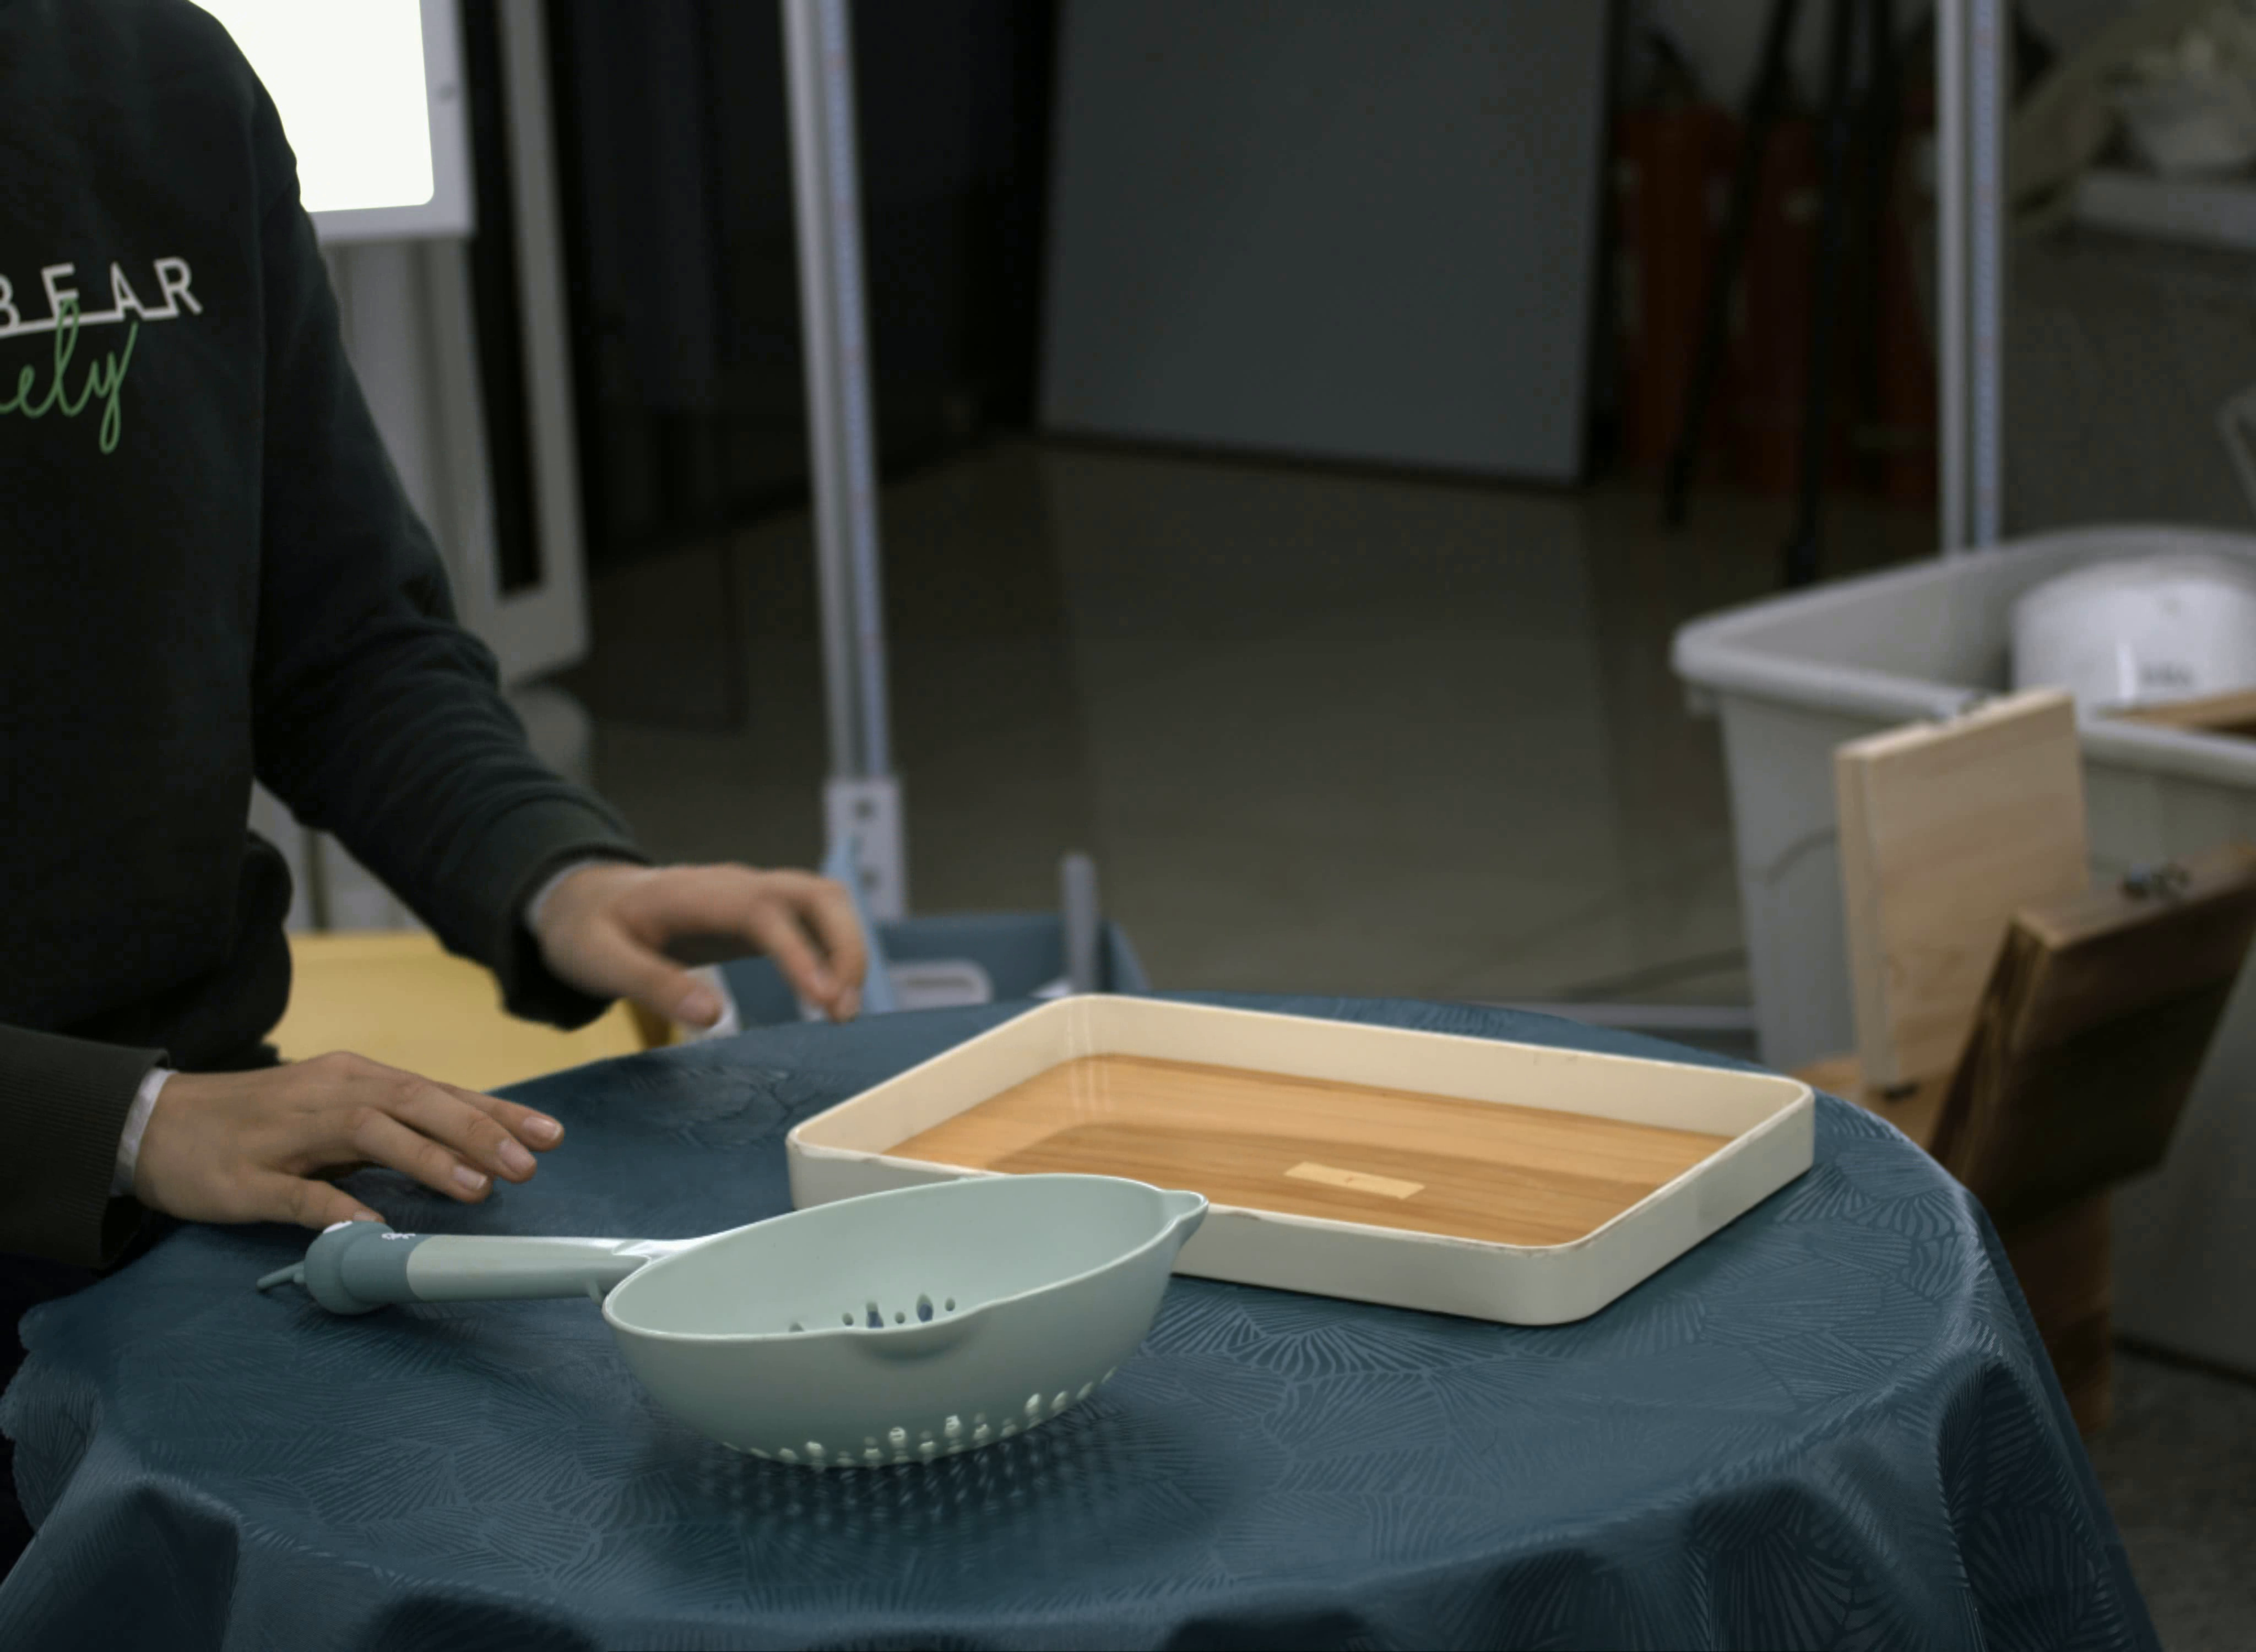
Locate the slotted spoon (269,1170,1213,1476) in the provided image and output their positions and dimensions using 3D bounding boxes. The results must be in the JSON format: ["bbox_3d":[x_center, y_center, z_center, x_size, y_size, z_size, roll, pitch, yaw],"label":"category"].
[{"bbox_3d":[-0.137,0.137,1.610,0.362,0.076,0.166,8,18,40],"label":"slotted spoon"}]

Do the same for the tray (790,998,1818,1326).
[{"bbox_3d":[0.057,0.106,1.760,0.302,0.028,0.188,6,17,33],"label":"tray"}]
